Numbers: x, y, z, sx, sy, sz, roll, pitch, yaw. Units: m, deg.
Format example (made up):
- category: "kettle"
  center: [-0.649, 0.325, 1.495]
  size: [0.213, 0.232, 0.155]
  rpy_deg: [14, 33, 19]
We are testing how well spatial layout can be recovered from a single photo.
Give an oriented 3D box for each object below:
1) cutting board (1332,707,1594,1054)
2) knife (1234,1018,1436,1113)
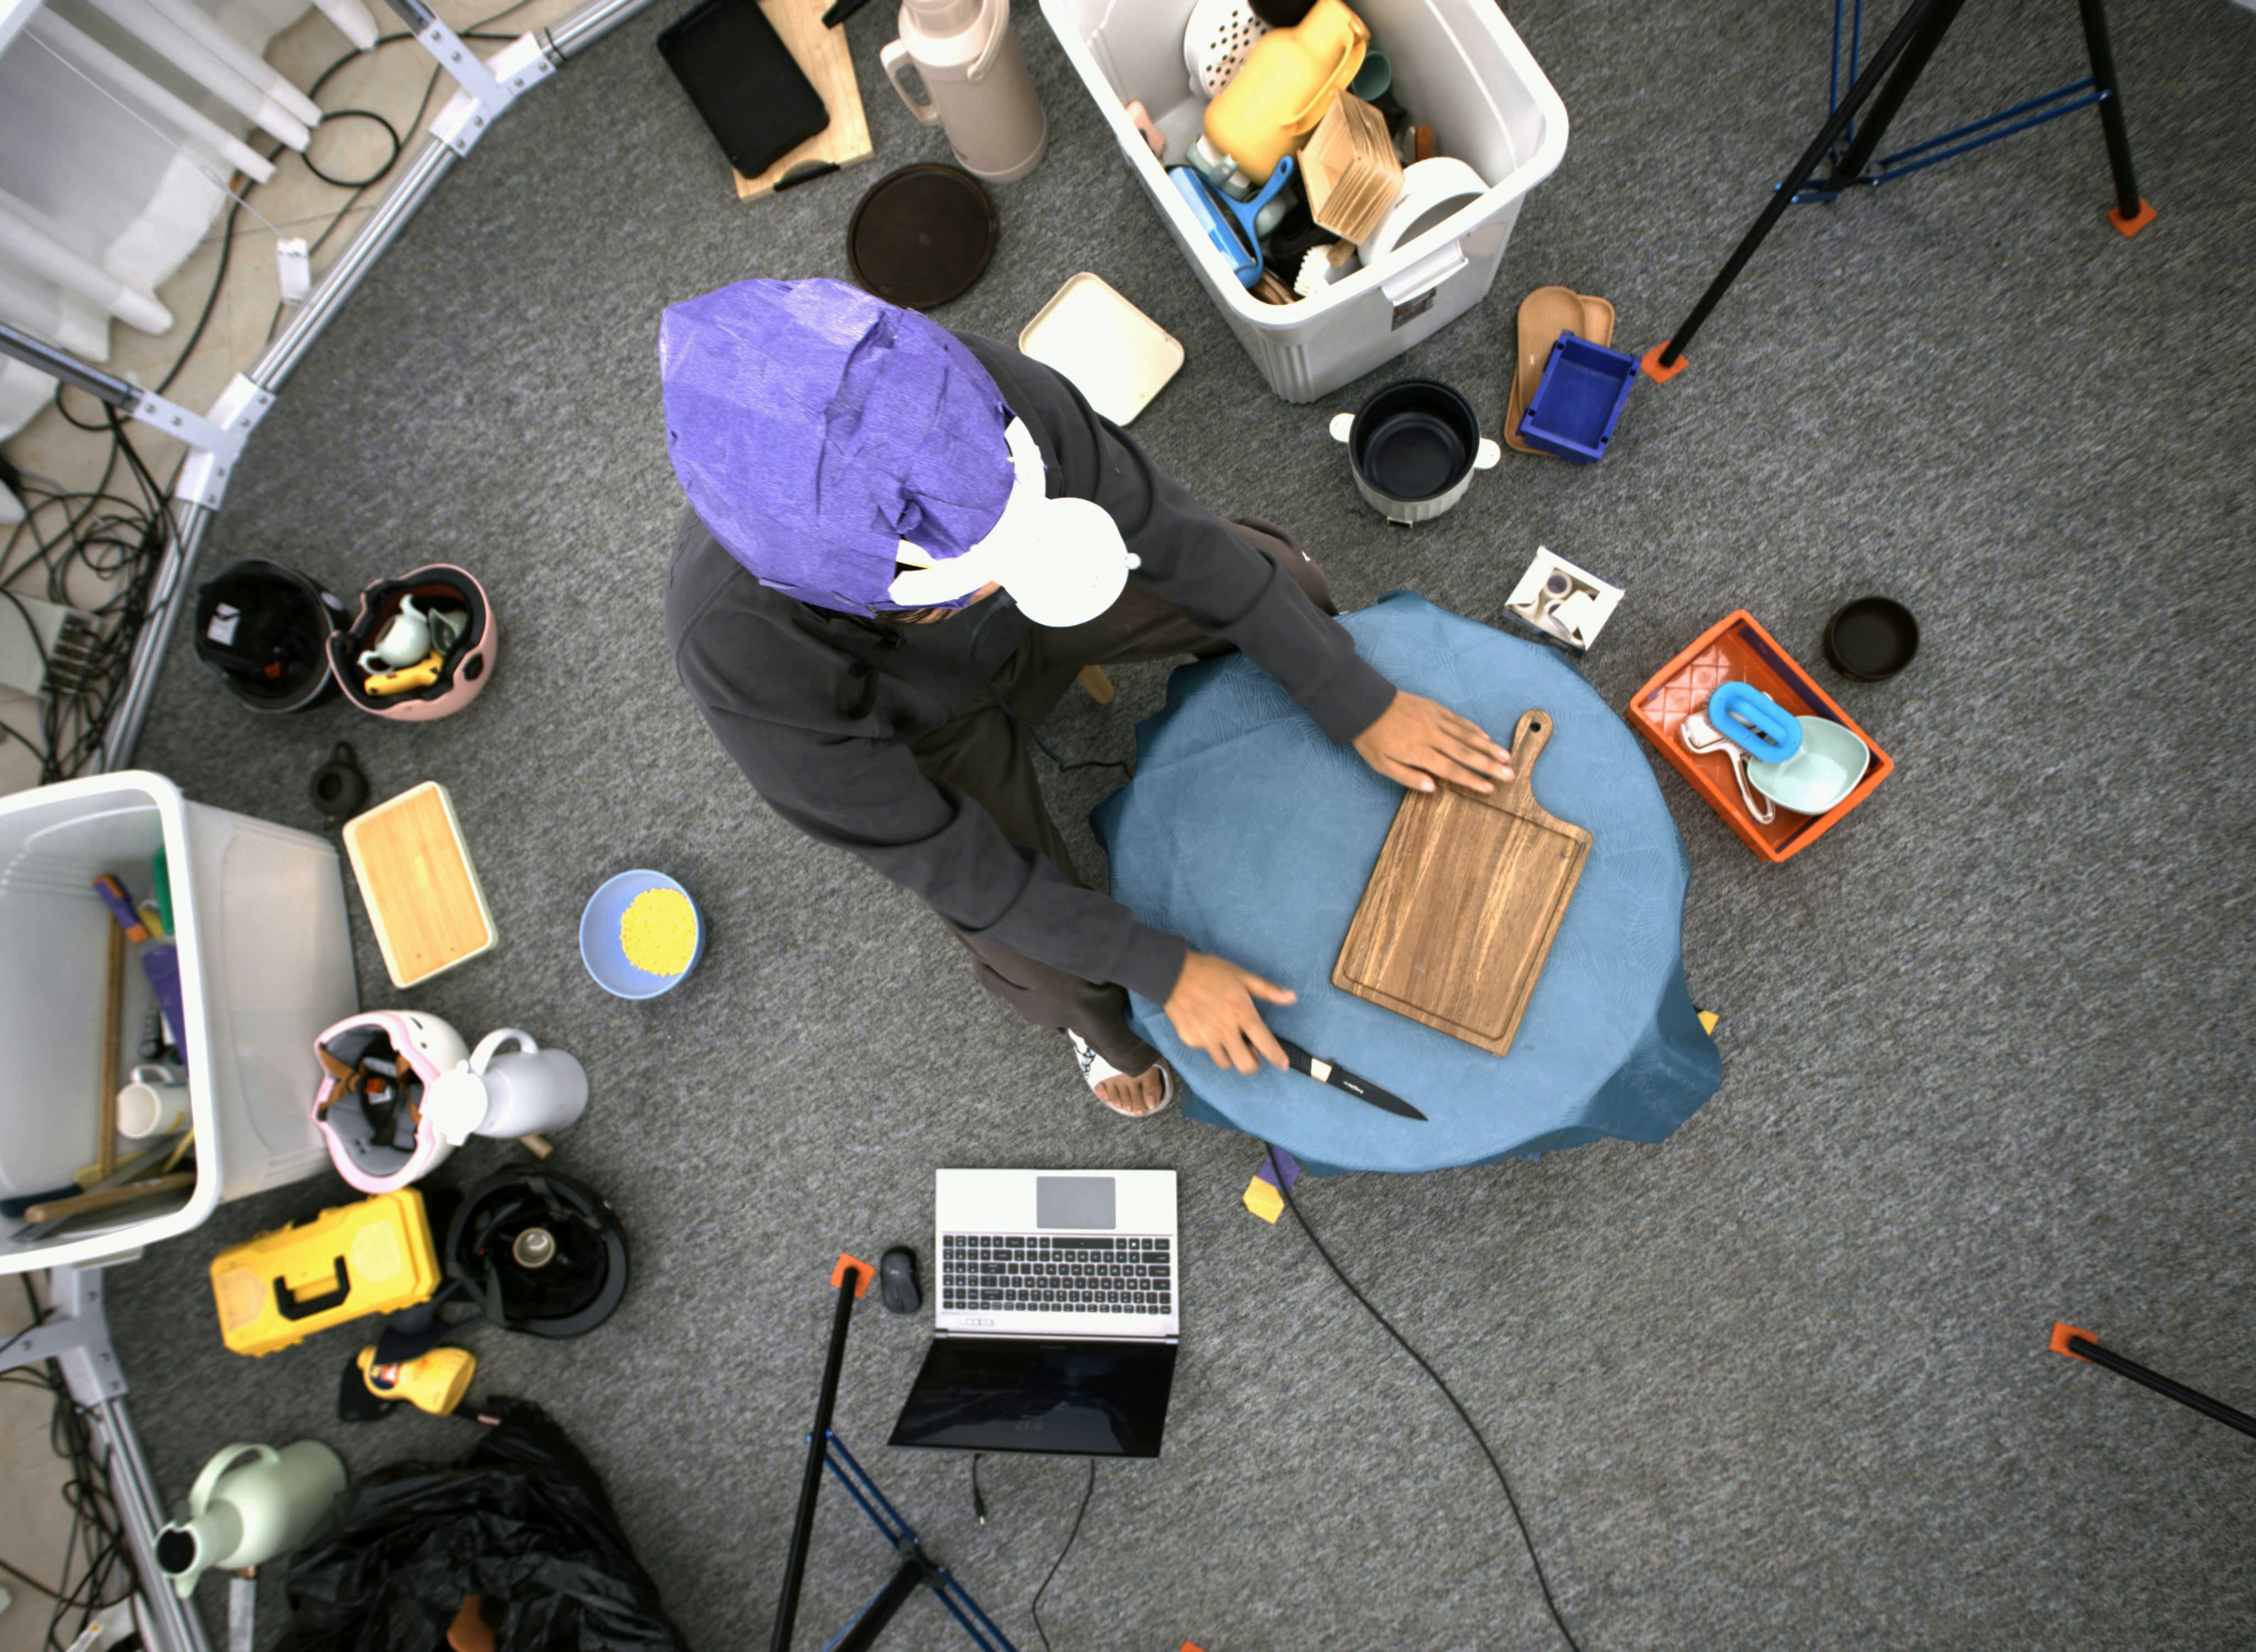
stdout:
- category: "cutting board"
  center: [0.366, 0.039, 1.434]
  size: [0.201, 0.023, 0.352]
  rpy_deg: [22, 91, 11]
- category: "knife"
  center: [0.217, 0.254, 1.455]
  size: [0.225, 0.017, 0.026]
  rpy_deg: [24, 85, 11]
